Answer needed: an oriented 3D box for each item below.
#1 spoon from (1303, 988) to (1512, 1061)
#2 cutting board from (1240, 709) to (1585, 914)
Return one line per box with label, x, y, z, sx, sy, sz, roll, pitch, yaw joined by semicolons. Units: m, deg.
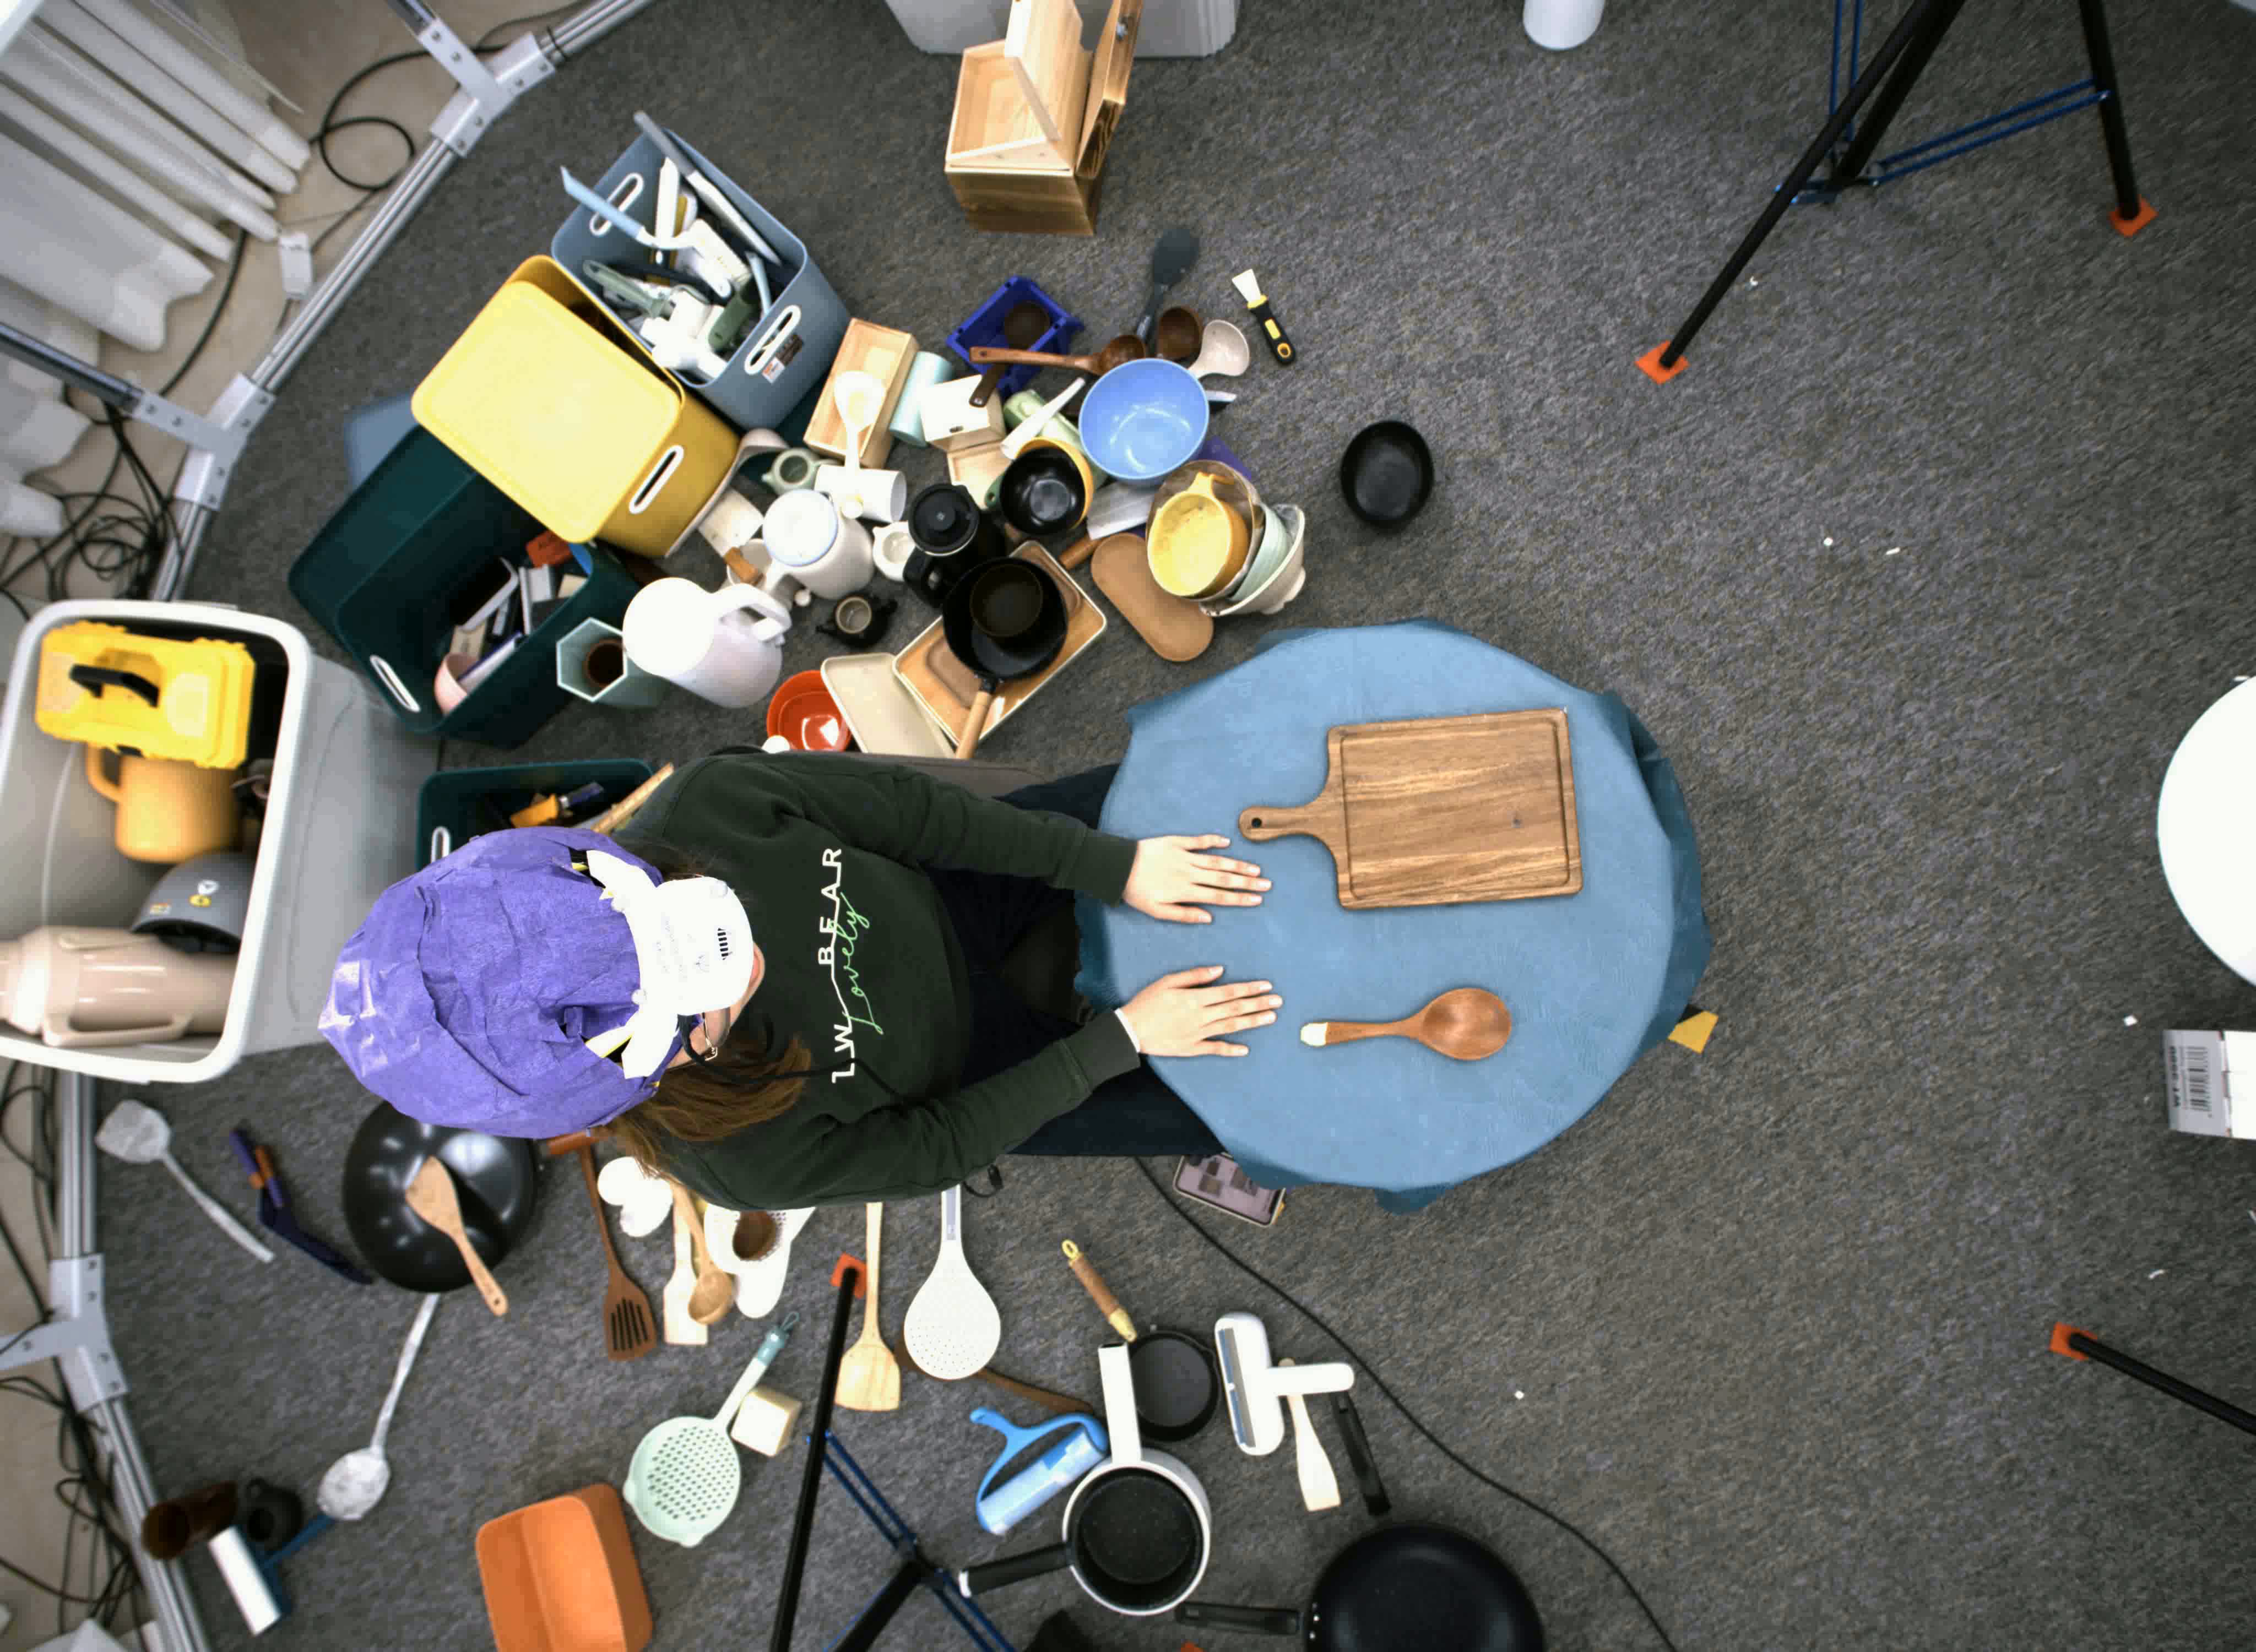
spoon;0.290;0.210;1.442;0.217;0.017;0.075;-5;87;9
cutting board;0.294;-0.013;1.457;0.354;0.023;0.200;-5;86;10
